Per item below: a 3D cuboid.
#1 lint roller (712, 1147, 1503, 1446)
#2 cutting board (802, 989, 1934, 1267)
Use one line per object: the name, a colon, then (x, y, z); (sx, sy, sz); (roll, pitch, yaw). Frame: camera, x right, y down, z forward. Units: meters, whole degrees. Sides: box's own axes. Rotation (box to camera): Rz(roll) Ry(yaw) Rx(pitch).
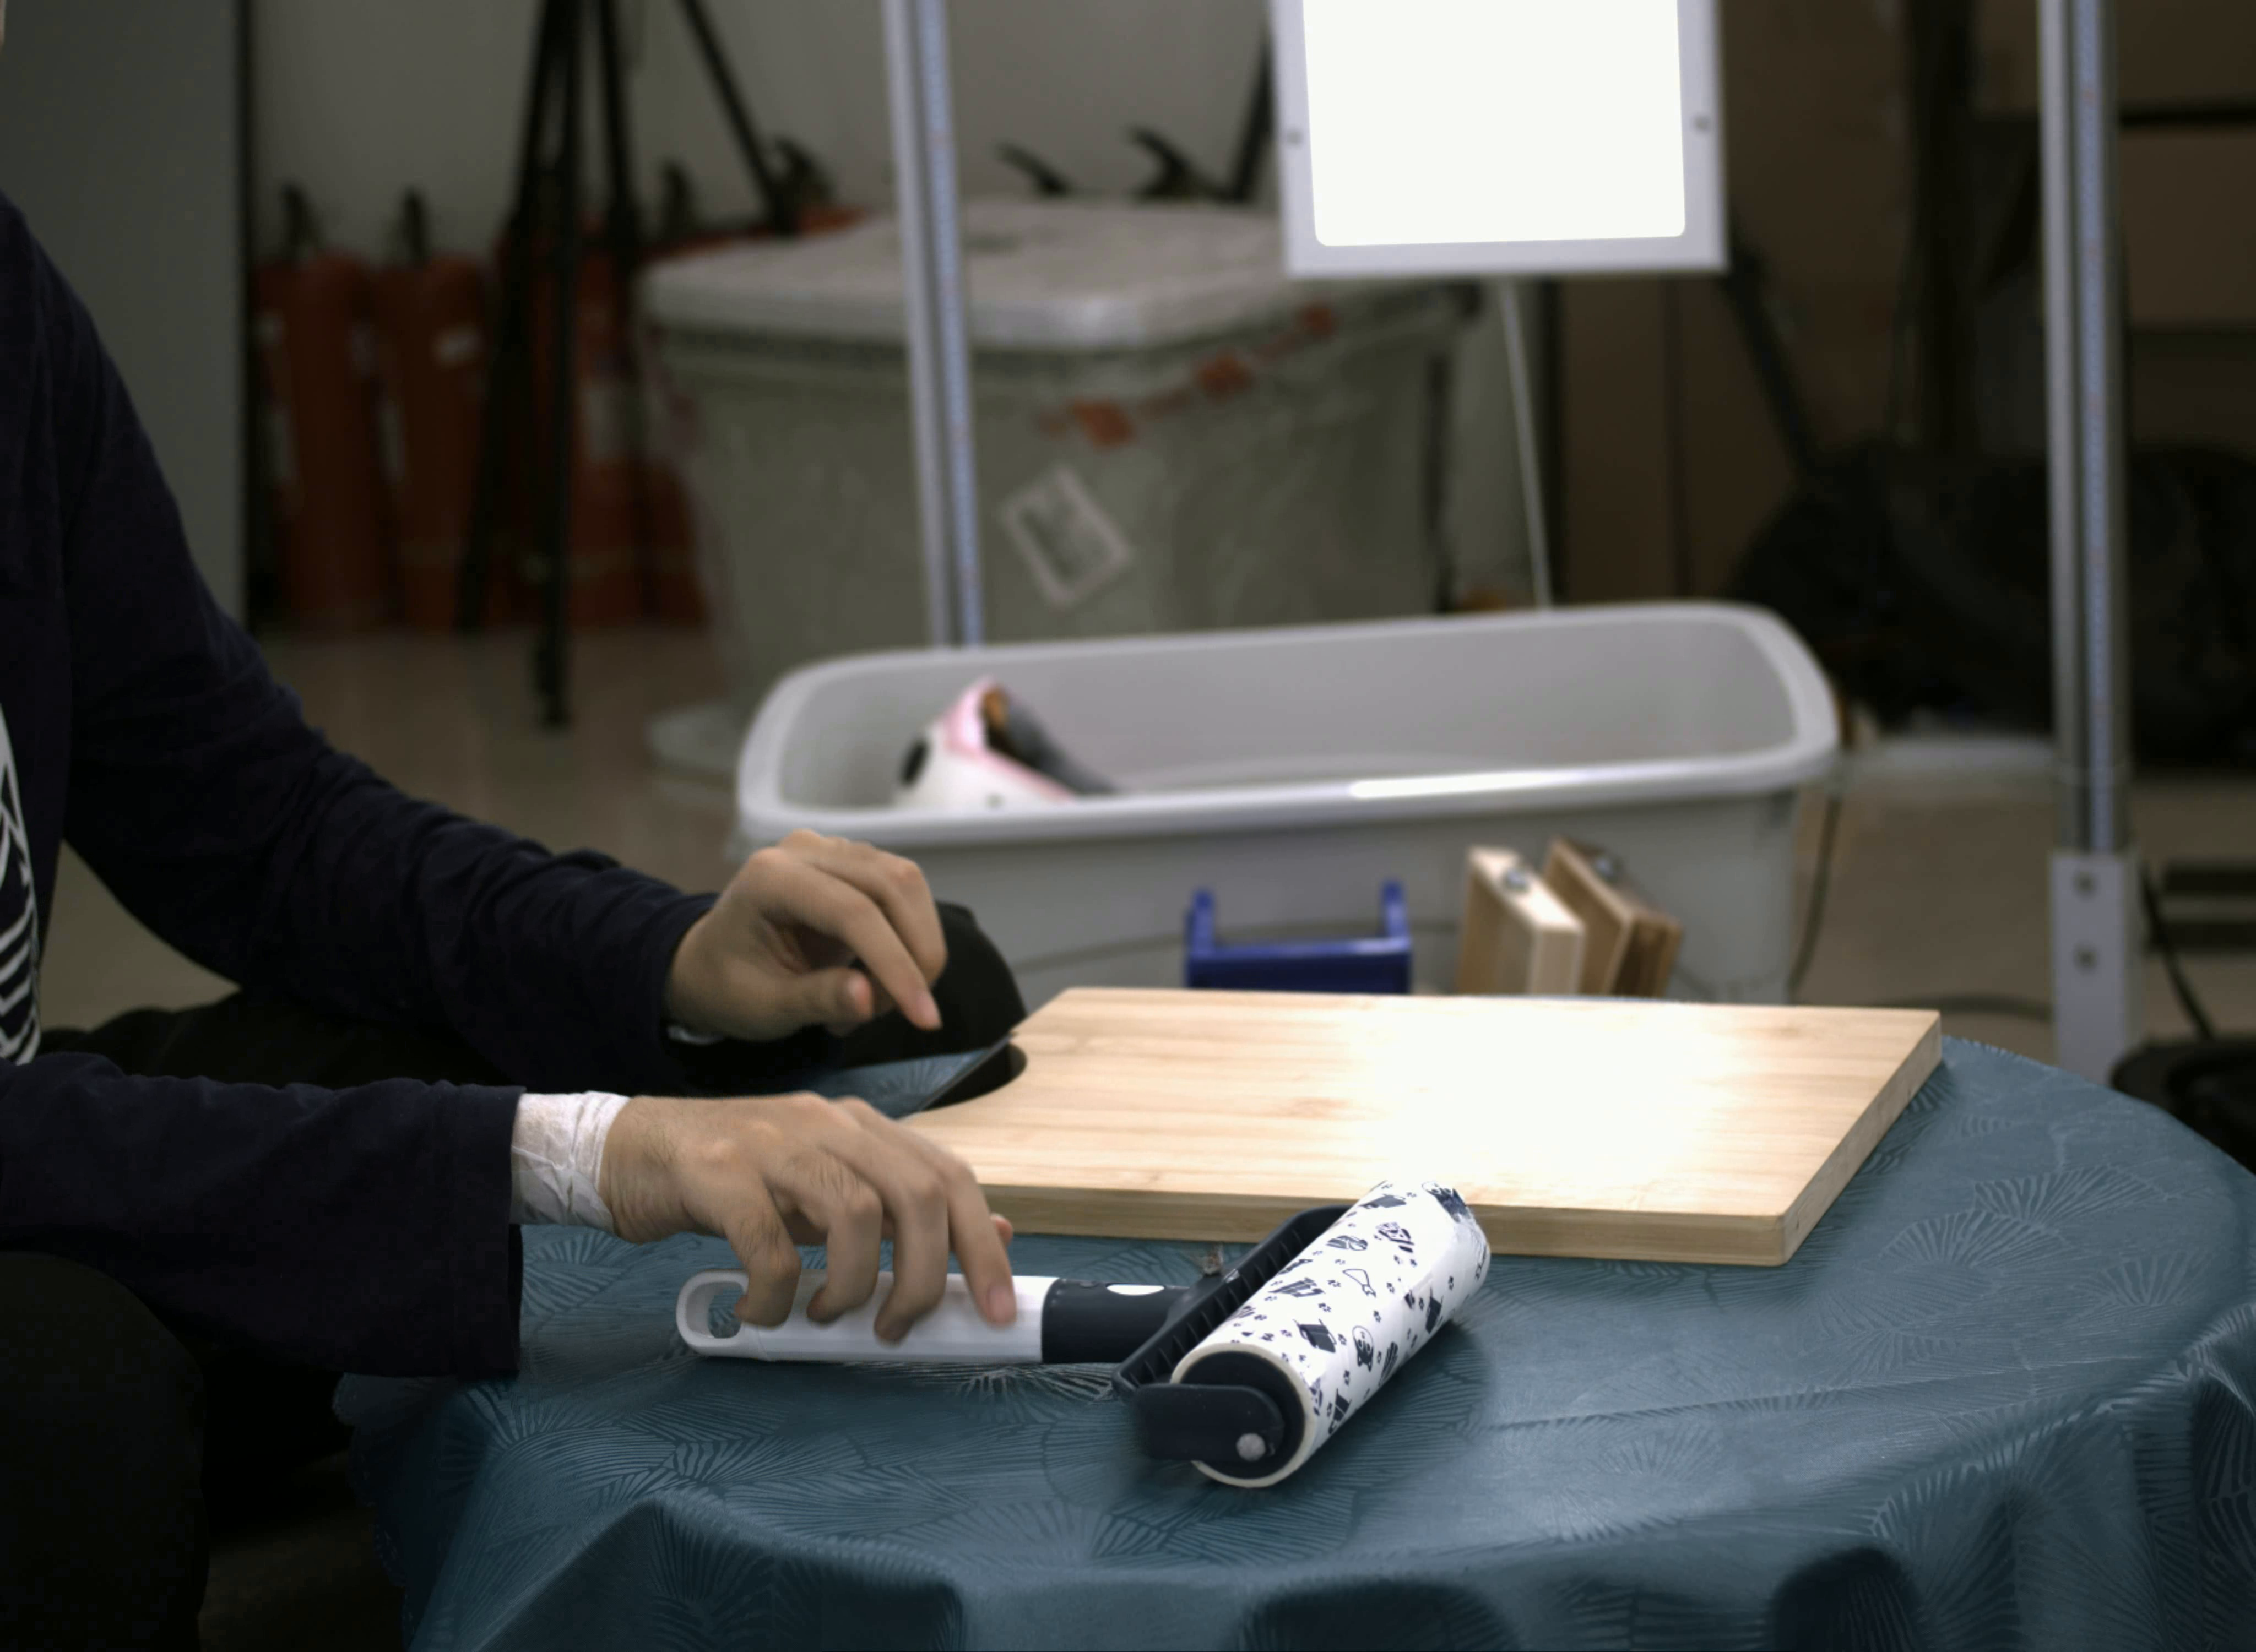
lint roller: (-0.026, 0.144, 1.722); (0.252, 0.050, 0.172); (-1, 12, 30)
cutting board: (0.090, 0.103, 1.936); (0.354, 0.023, 0.246); (0, 14, 22)
